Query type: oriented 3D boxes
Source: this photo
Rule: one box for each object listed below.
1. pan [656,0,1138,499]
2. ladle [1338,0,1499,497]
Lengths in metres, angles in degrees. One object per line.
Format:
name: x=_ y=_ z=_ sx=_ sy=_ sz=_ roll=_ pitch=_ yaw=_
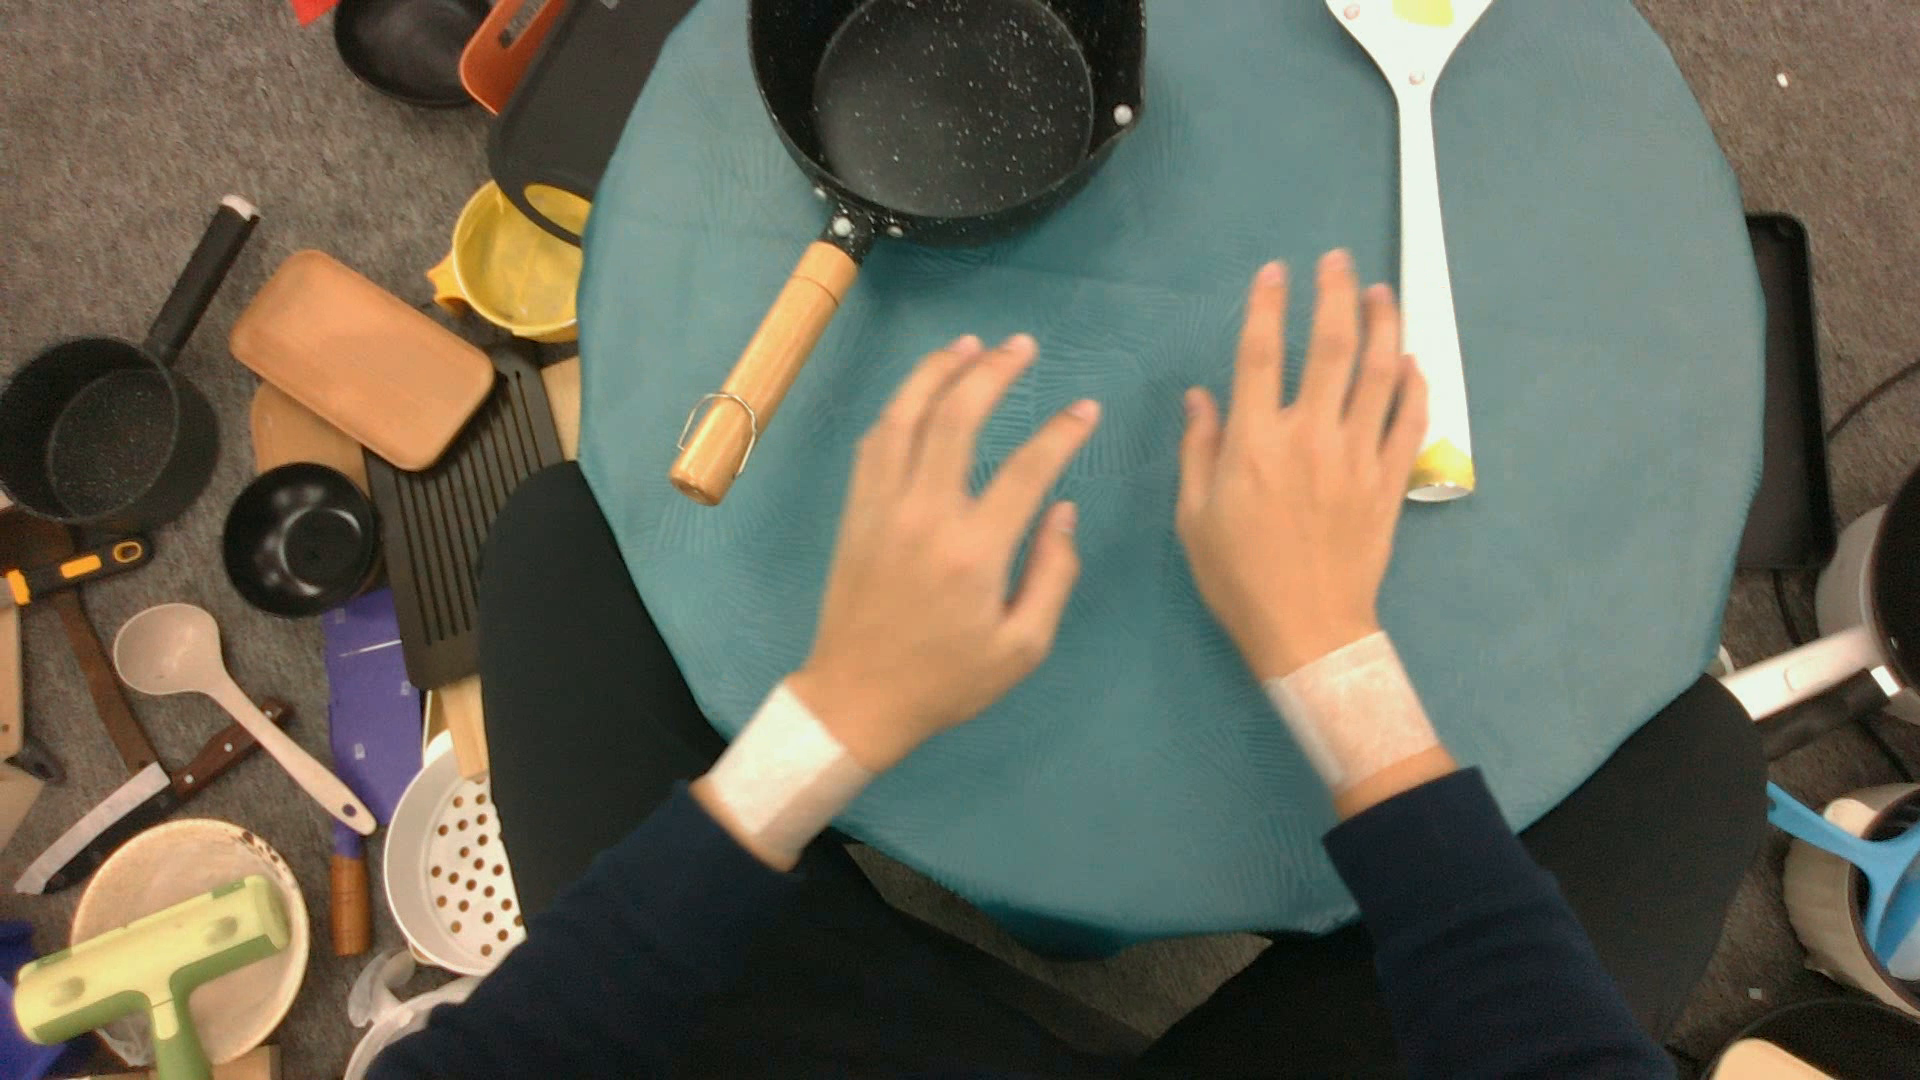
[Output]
pan: x=-0.043 y=-0.163 z=0.659 sx=0.207 sy=0.108 sz=0.343 roll=25 pitch=81 yaw=4
ladle: x=0.229 y=-0.171 z=0.676 sx=0.090 sy=0.070 sz=0.293 roll=0 pitch=82 yaw=6
